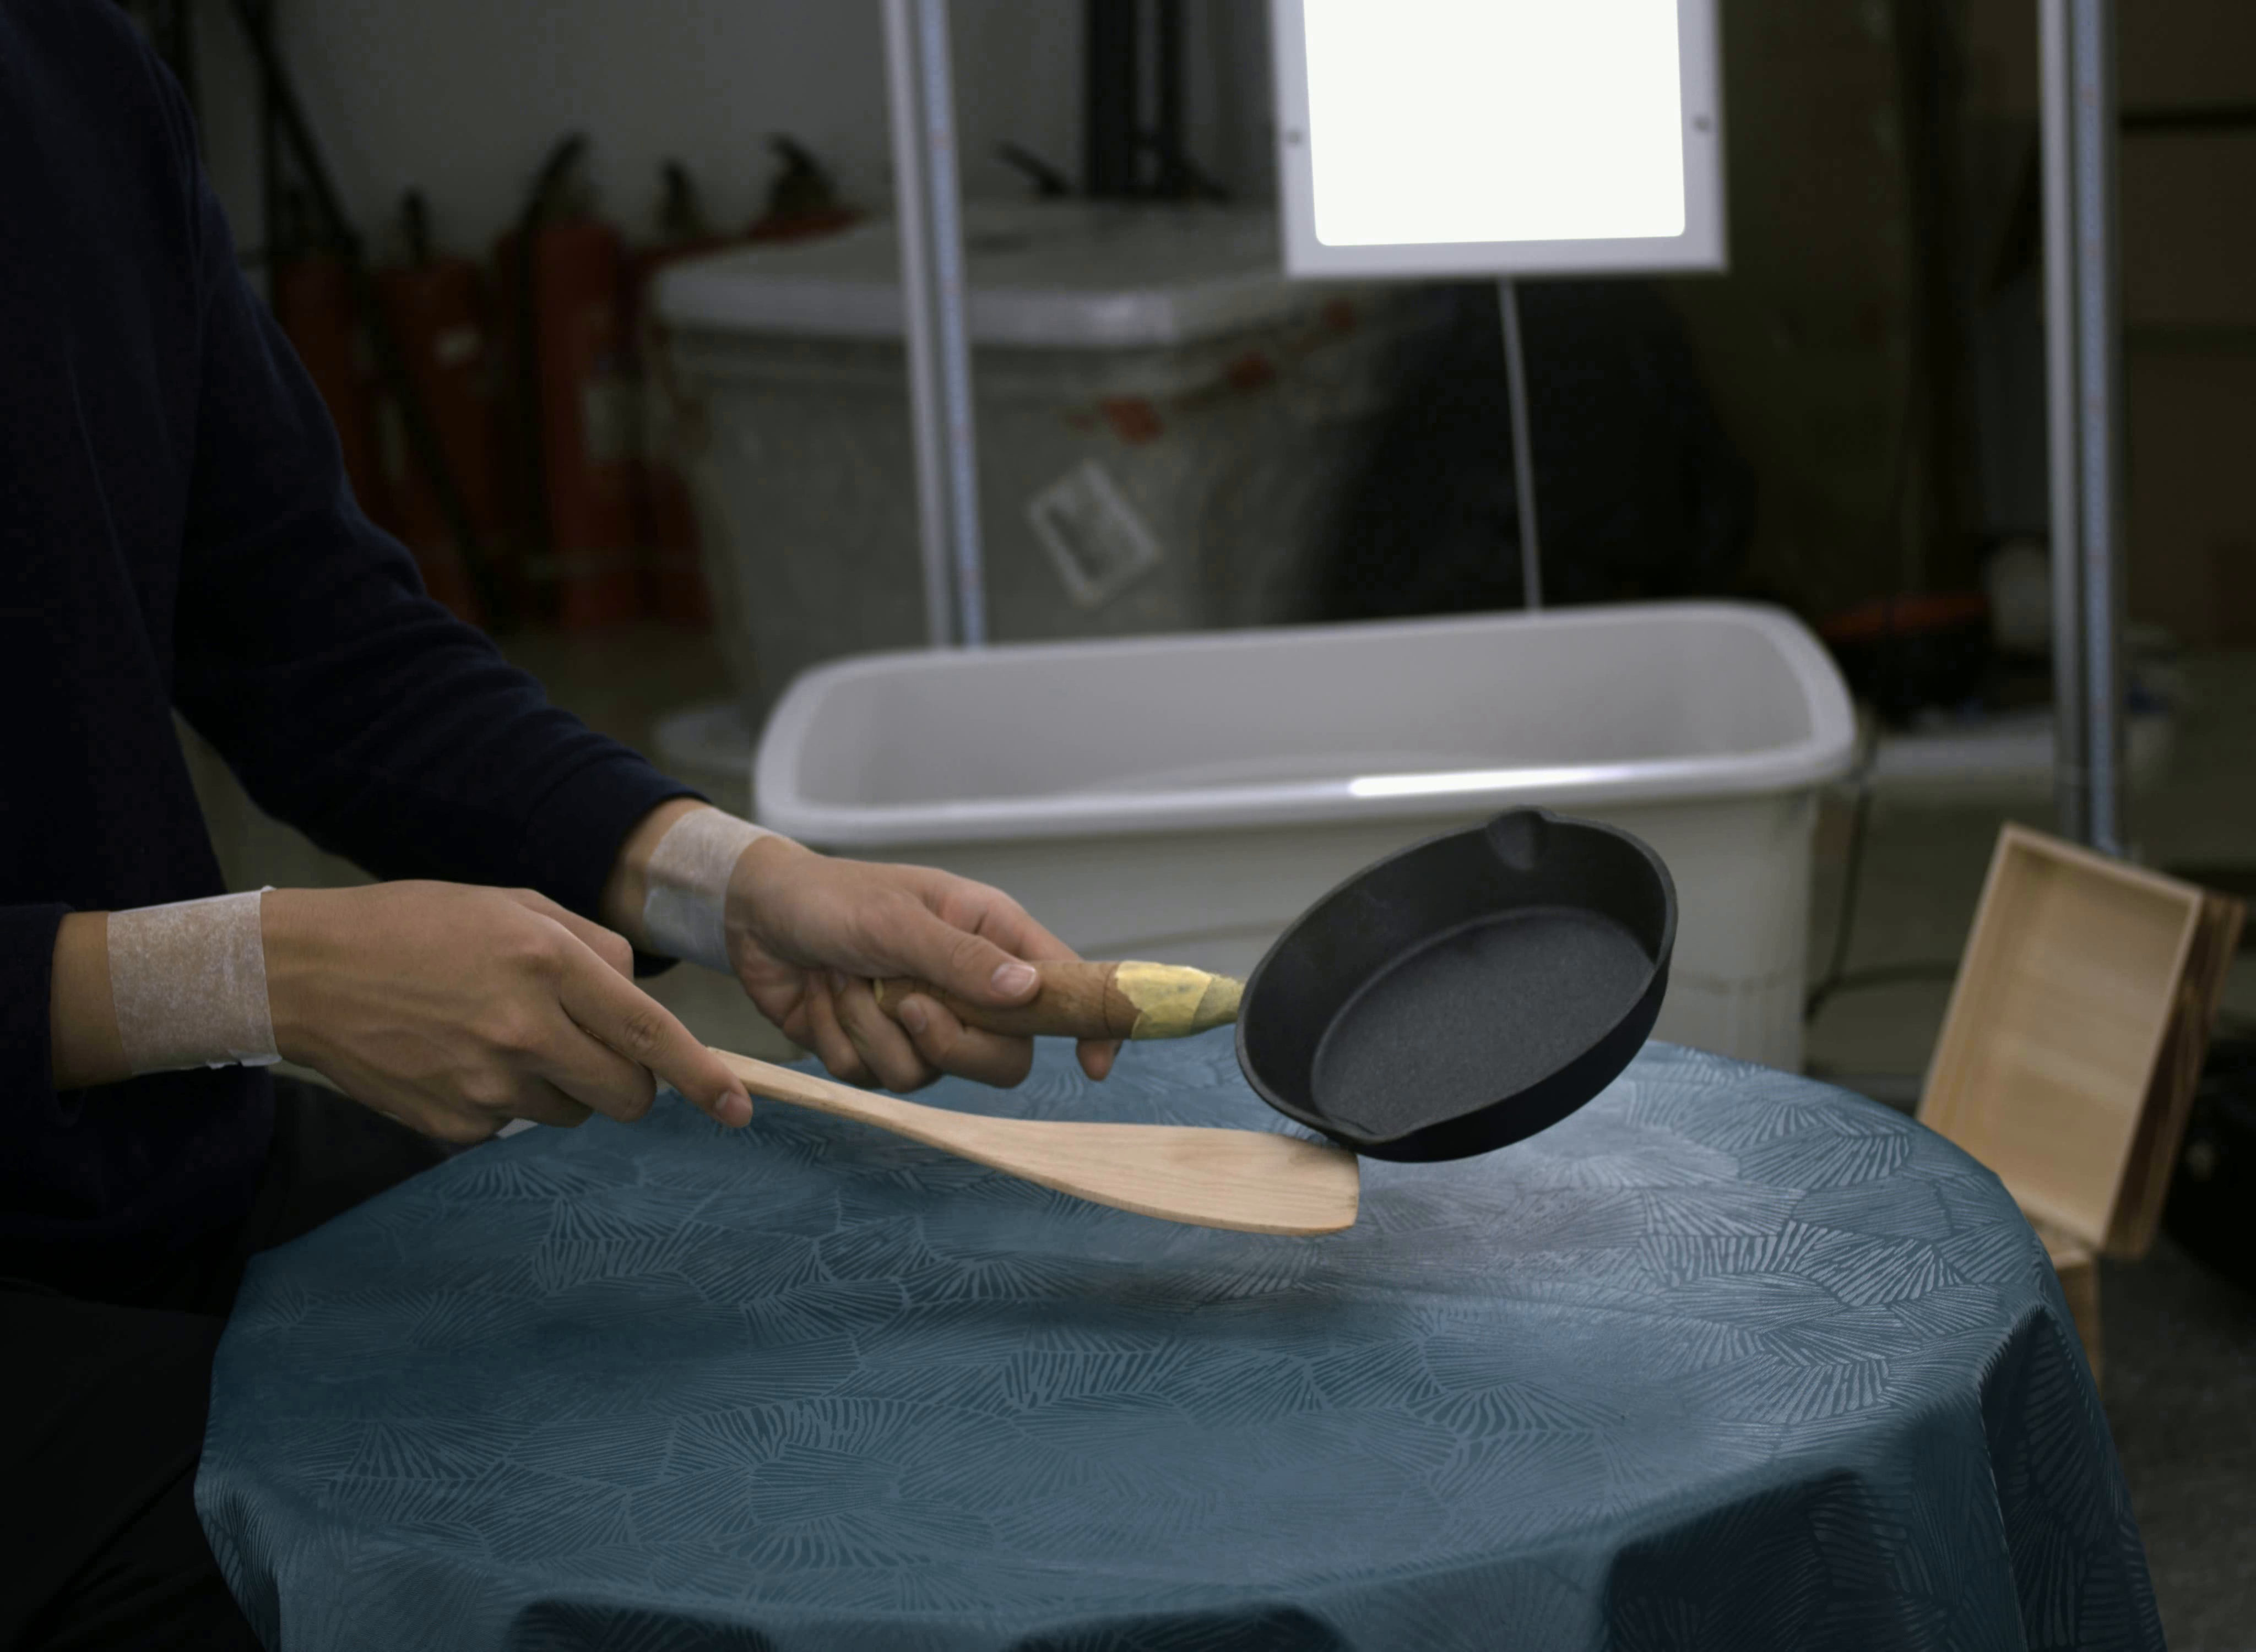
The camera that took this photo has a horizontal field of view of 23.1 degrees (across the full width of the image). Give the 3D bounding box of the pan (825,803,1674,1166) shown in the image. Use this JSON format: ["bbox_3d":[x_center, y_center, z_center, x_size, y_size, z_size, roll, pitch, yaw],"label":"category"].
[{"bbox_3d":[0.039,0.058,1.877,0.331,0.049,0.166,-3,39,33],"label":"pan"}]

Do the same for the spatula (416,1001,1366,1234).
[{"bbox_3d":[-0.078,0.090,1.804,0.330,0.016,0.079,11,20,12],"label":"spatula"}]
